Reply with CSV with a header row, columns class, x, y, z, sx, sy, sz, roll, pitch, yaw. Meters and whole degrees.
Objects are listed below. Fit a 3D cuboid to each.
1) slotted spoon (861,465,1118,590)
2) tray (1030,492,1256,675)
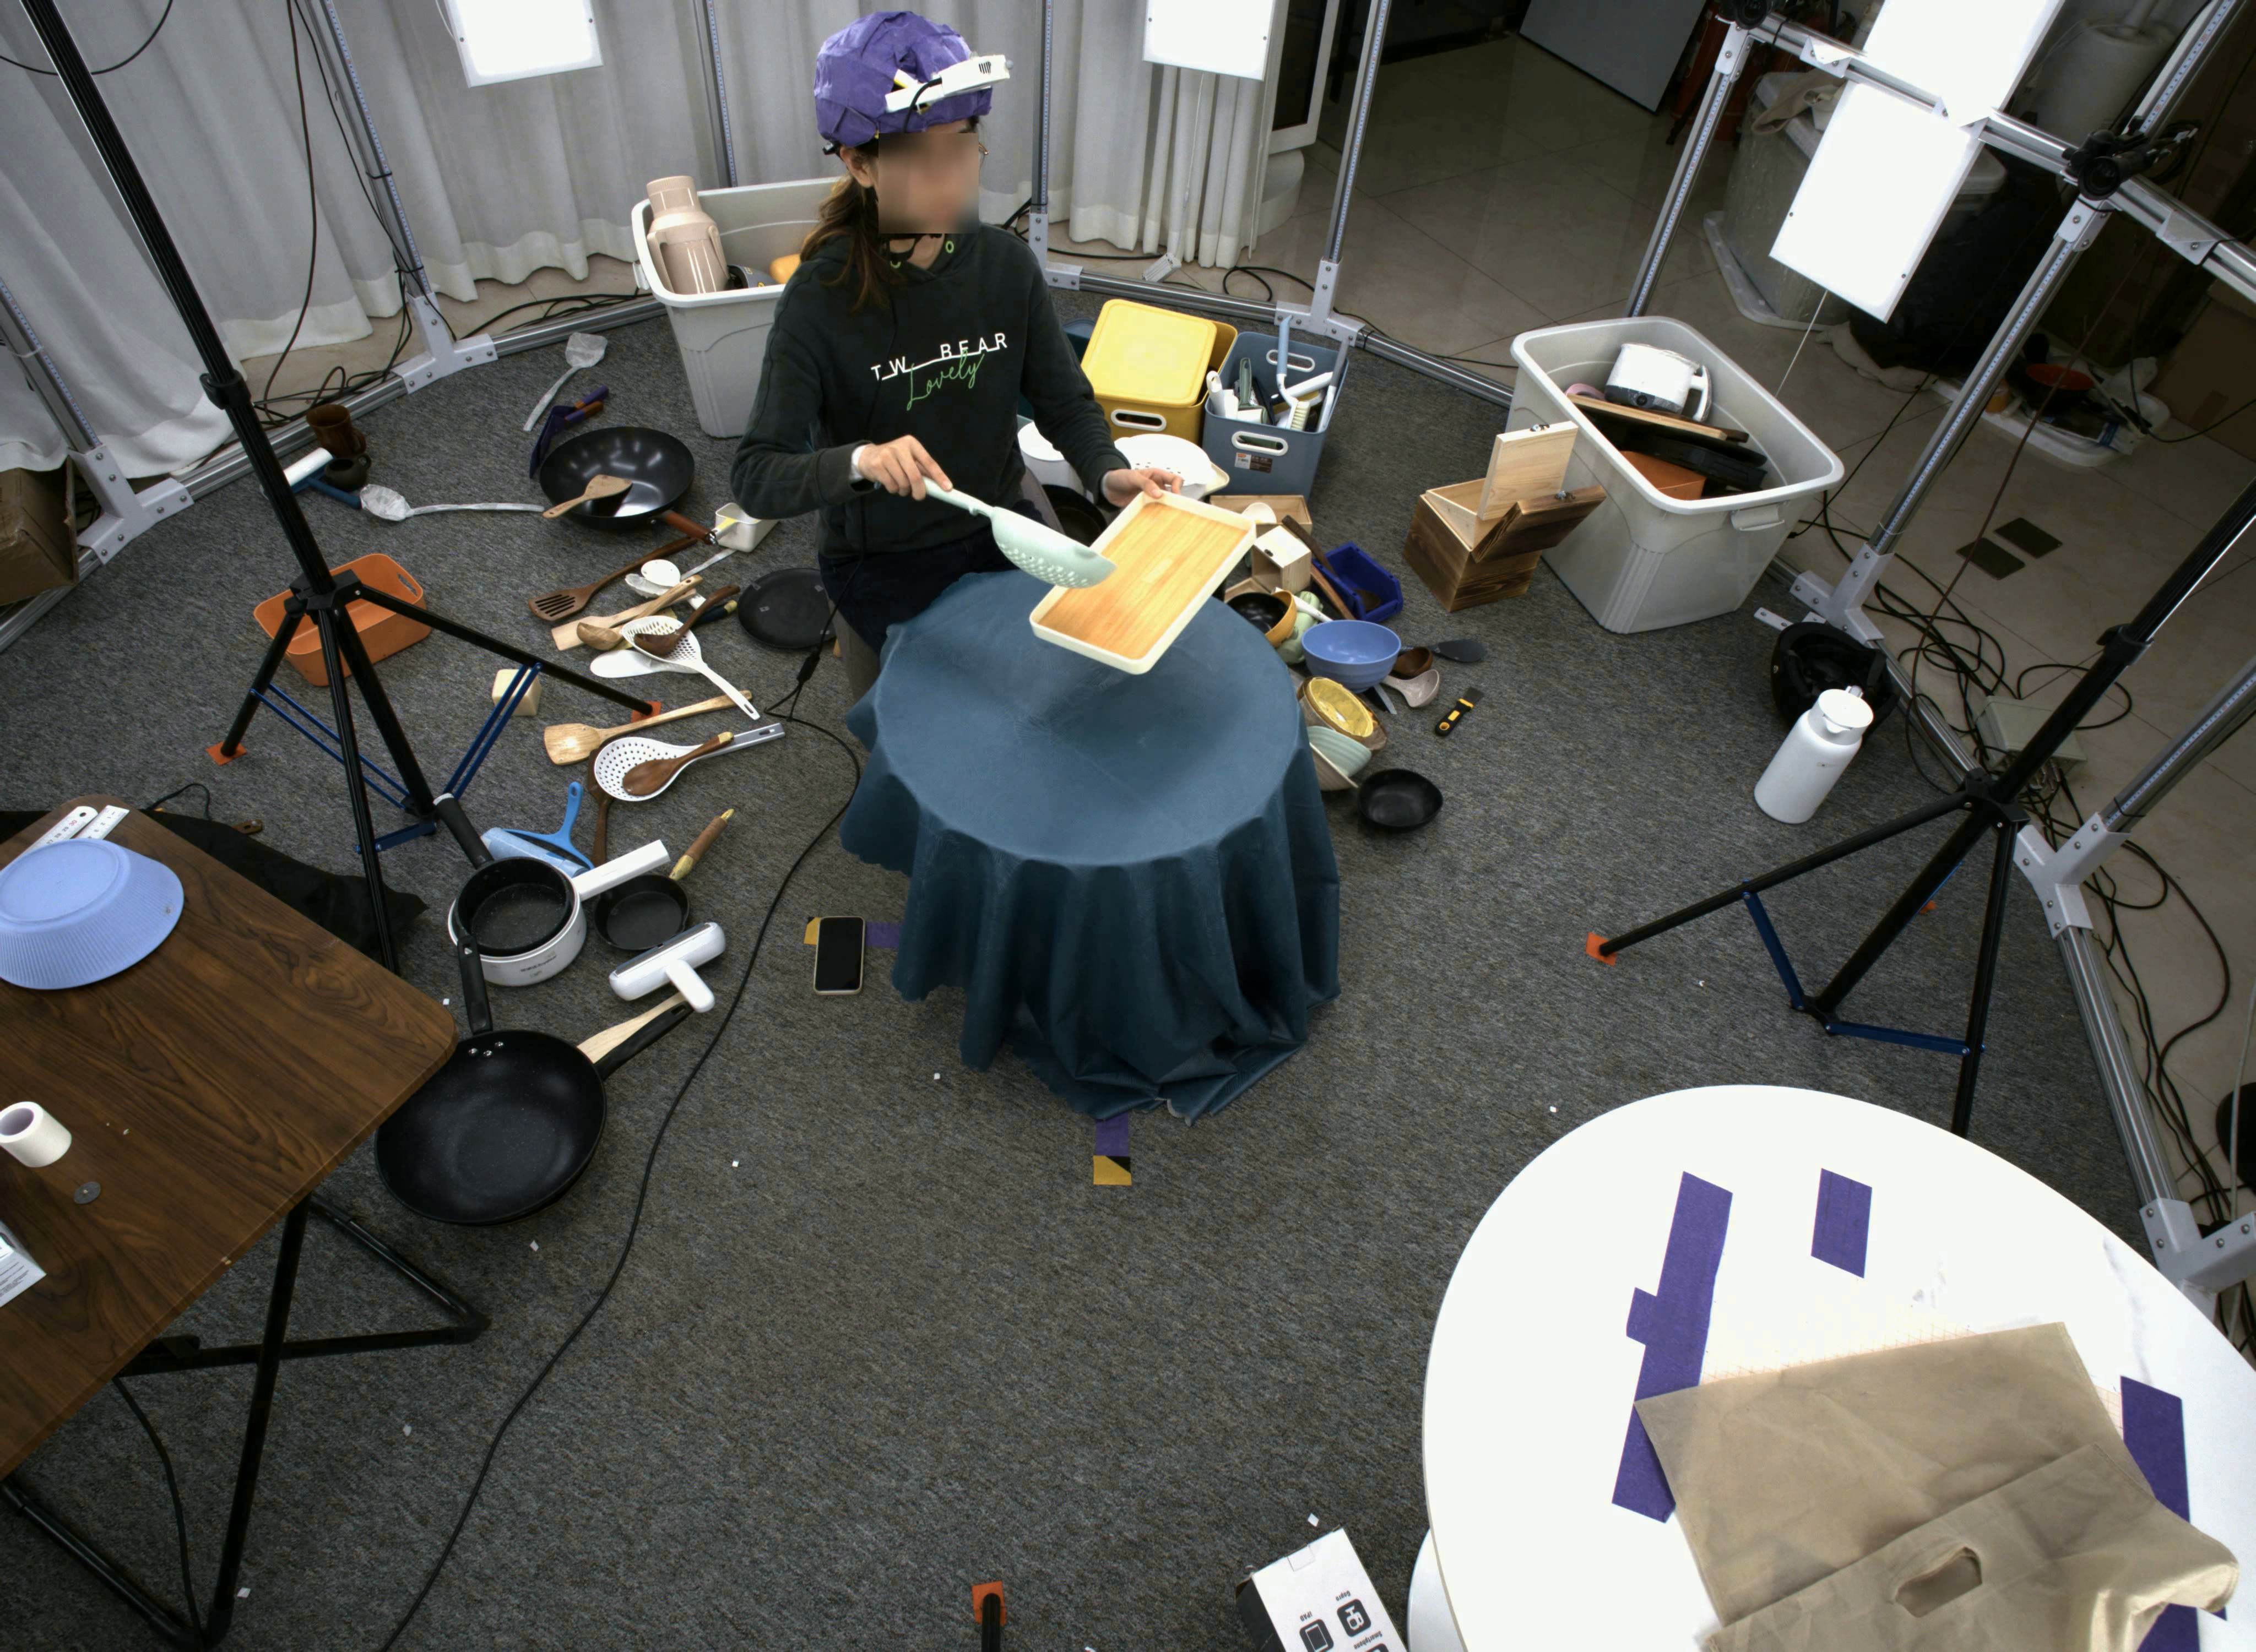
class,x,y,z,sx,sy,sz,roll,pitch,yaw
slotted spoon,-0.181,-0.392,1.646,0.361,0.169,0.075,34,98,13
tray,0.024,-0.337,1.755,0.194,0.027,0.304,24,60,27
